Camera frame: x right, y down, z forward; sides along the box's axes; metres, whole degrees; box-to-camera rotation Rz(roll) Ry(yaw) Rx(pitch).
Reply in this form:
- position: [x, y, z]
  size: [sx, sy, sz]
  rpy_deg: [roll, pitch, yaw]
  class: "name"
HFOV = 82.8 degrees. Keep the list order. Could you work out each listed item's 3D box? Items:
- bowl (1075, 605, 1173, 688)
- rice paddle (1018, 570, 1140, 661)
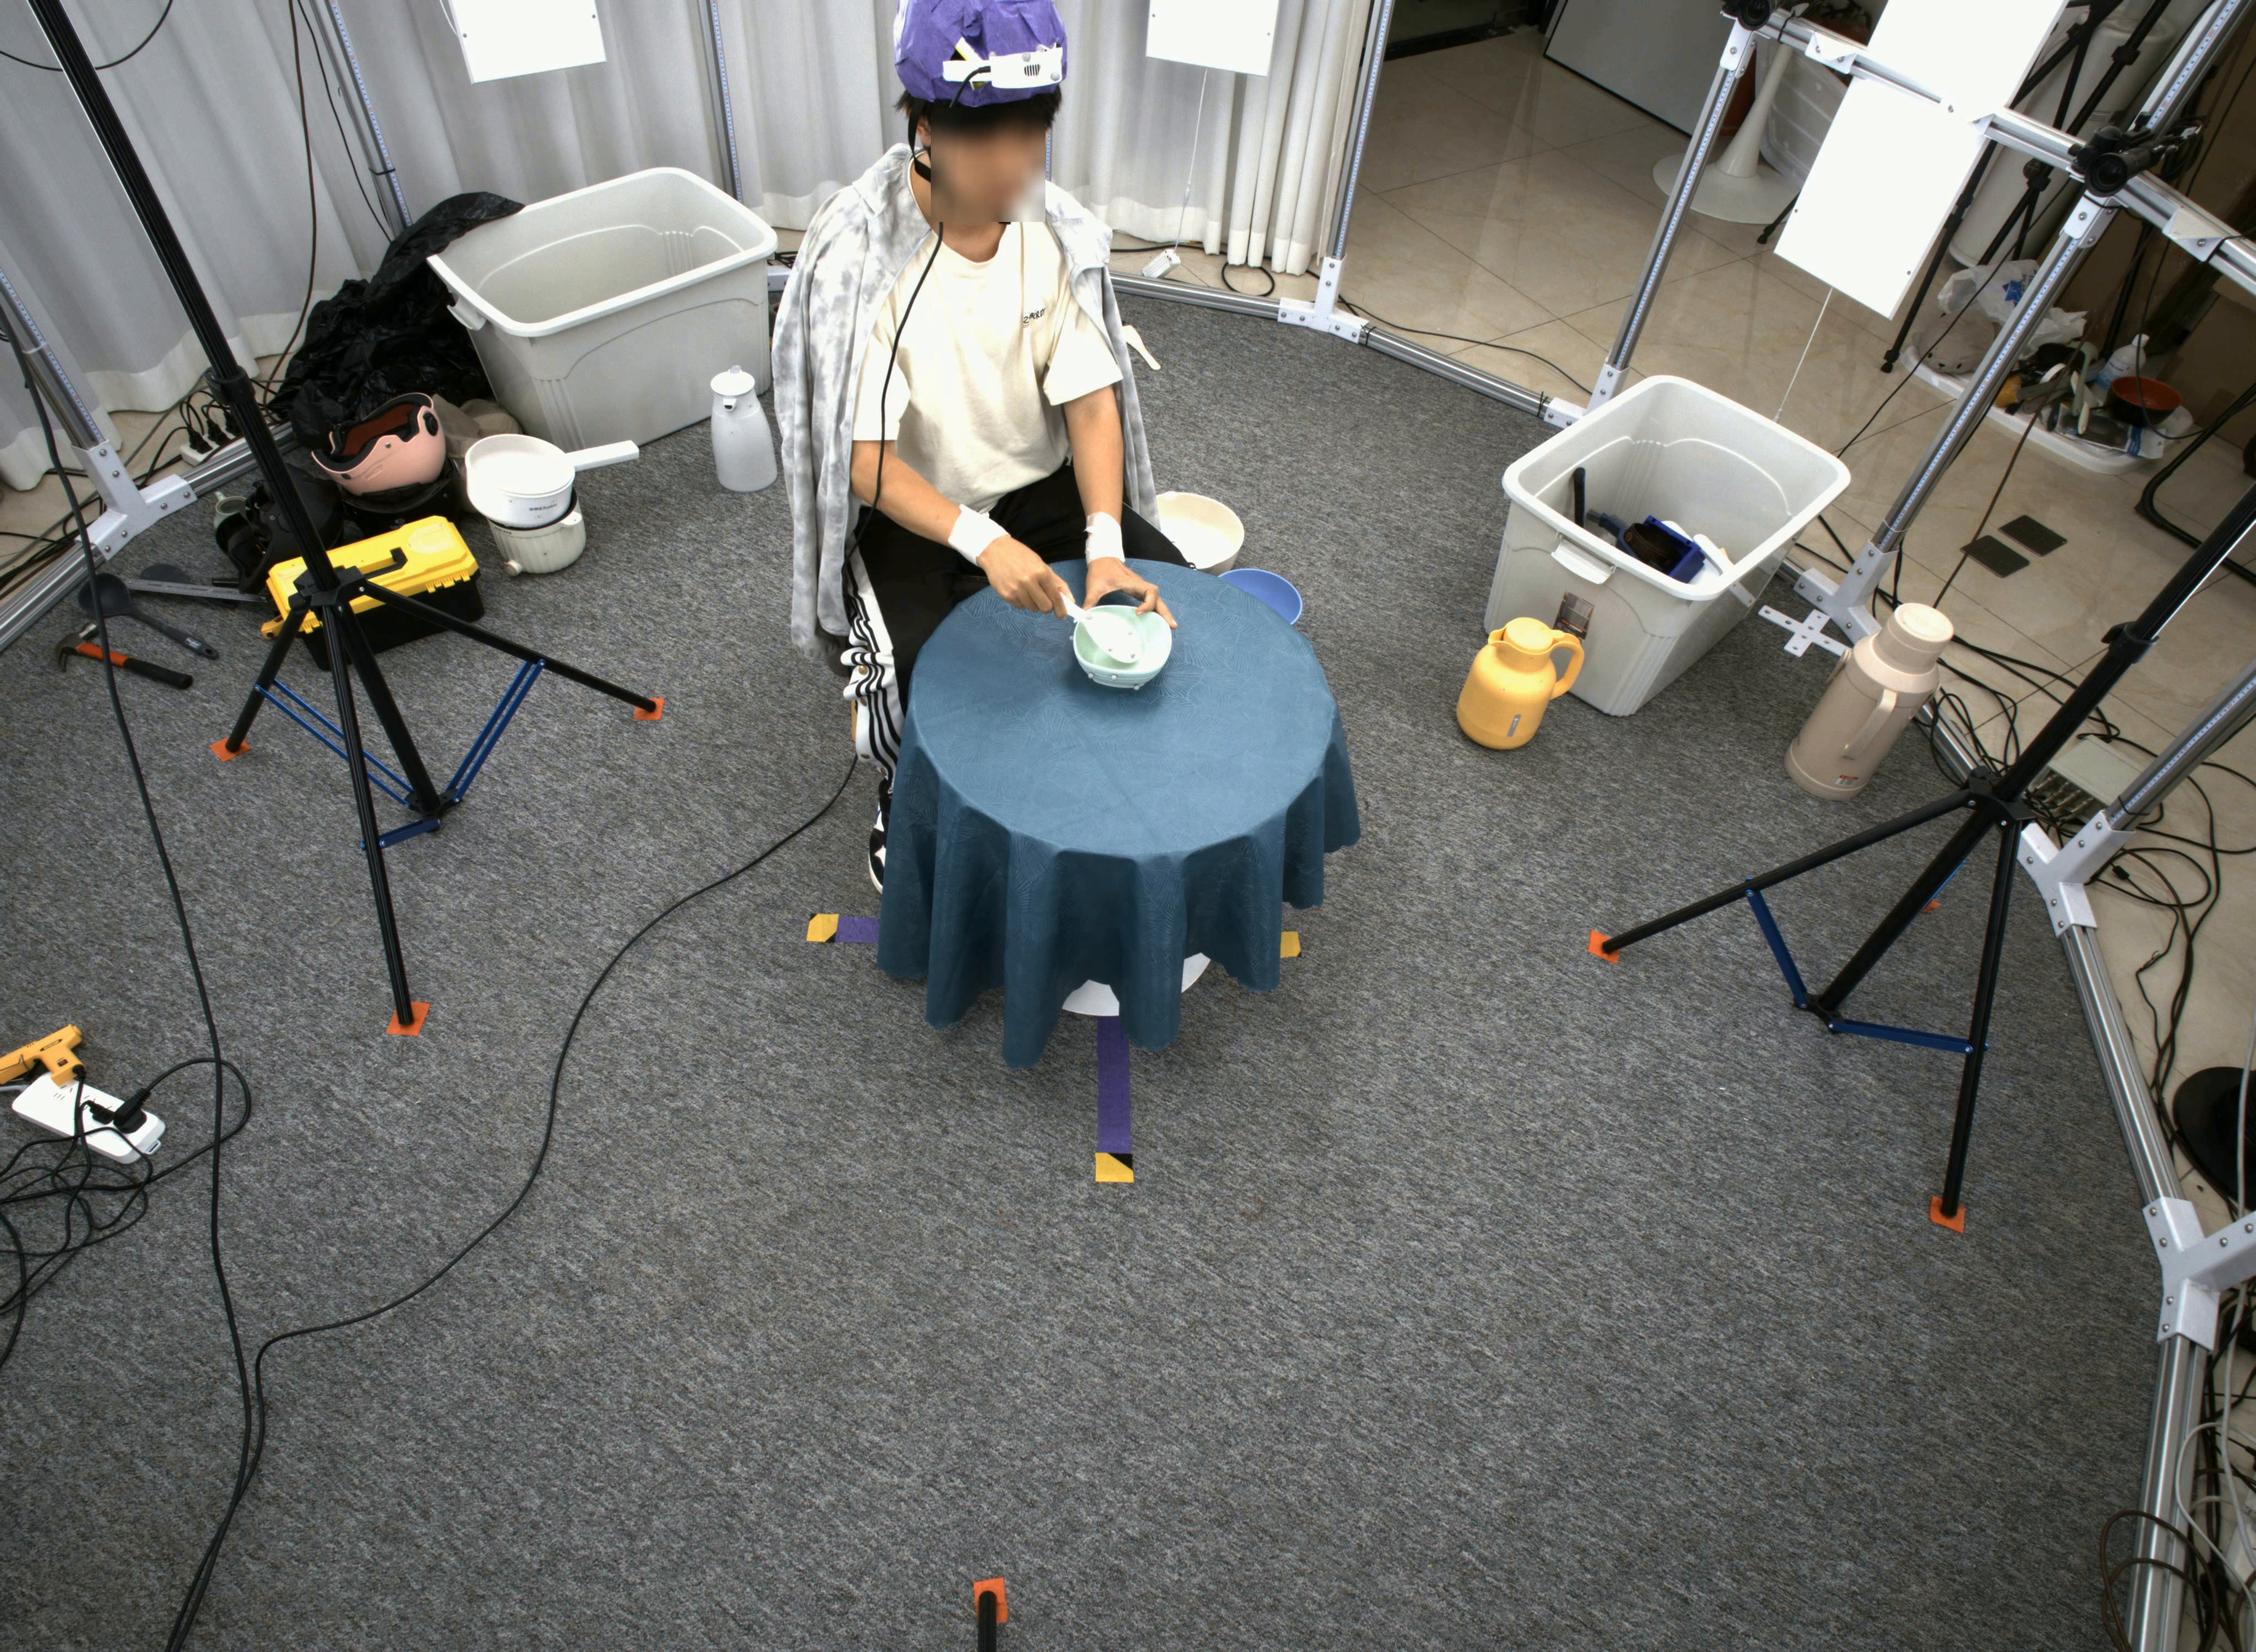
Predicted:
- position: [-0.007, -0.249, 1.841]
  size: [0.151, 0.057, 0.155]
  rpy_deg: [1, 50, -2]
  class: "bowl"
- position: [-0.062, -0.296, 1.809]
  size: [0.202, 0.029, 0.070]
  rpy_deg: [28, 56, -25]
  class: "rice paddle"
